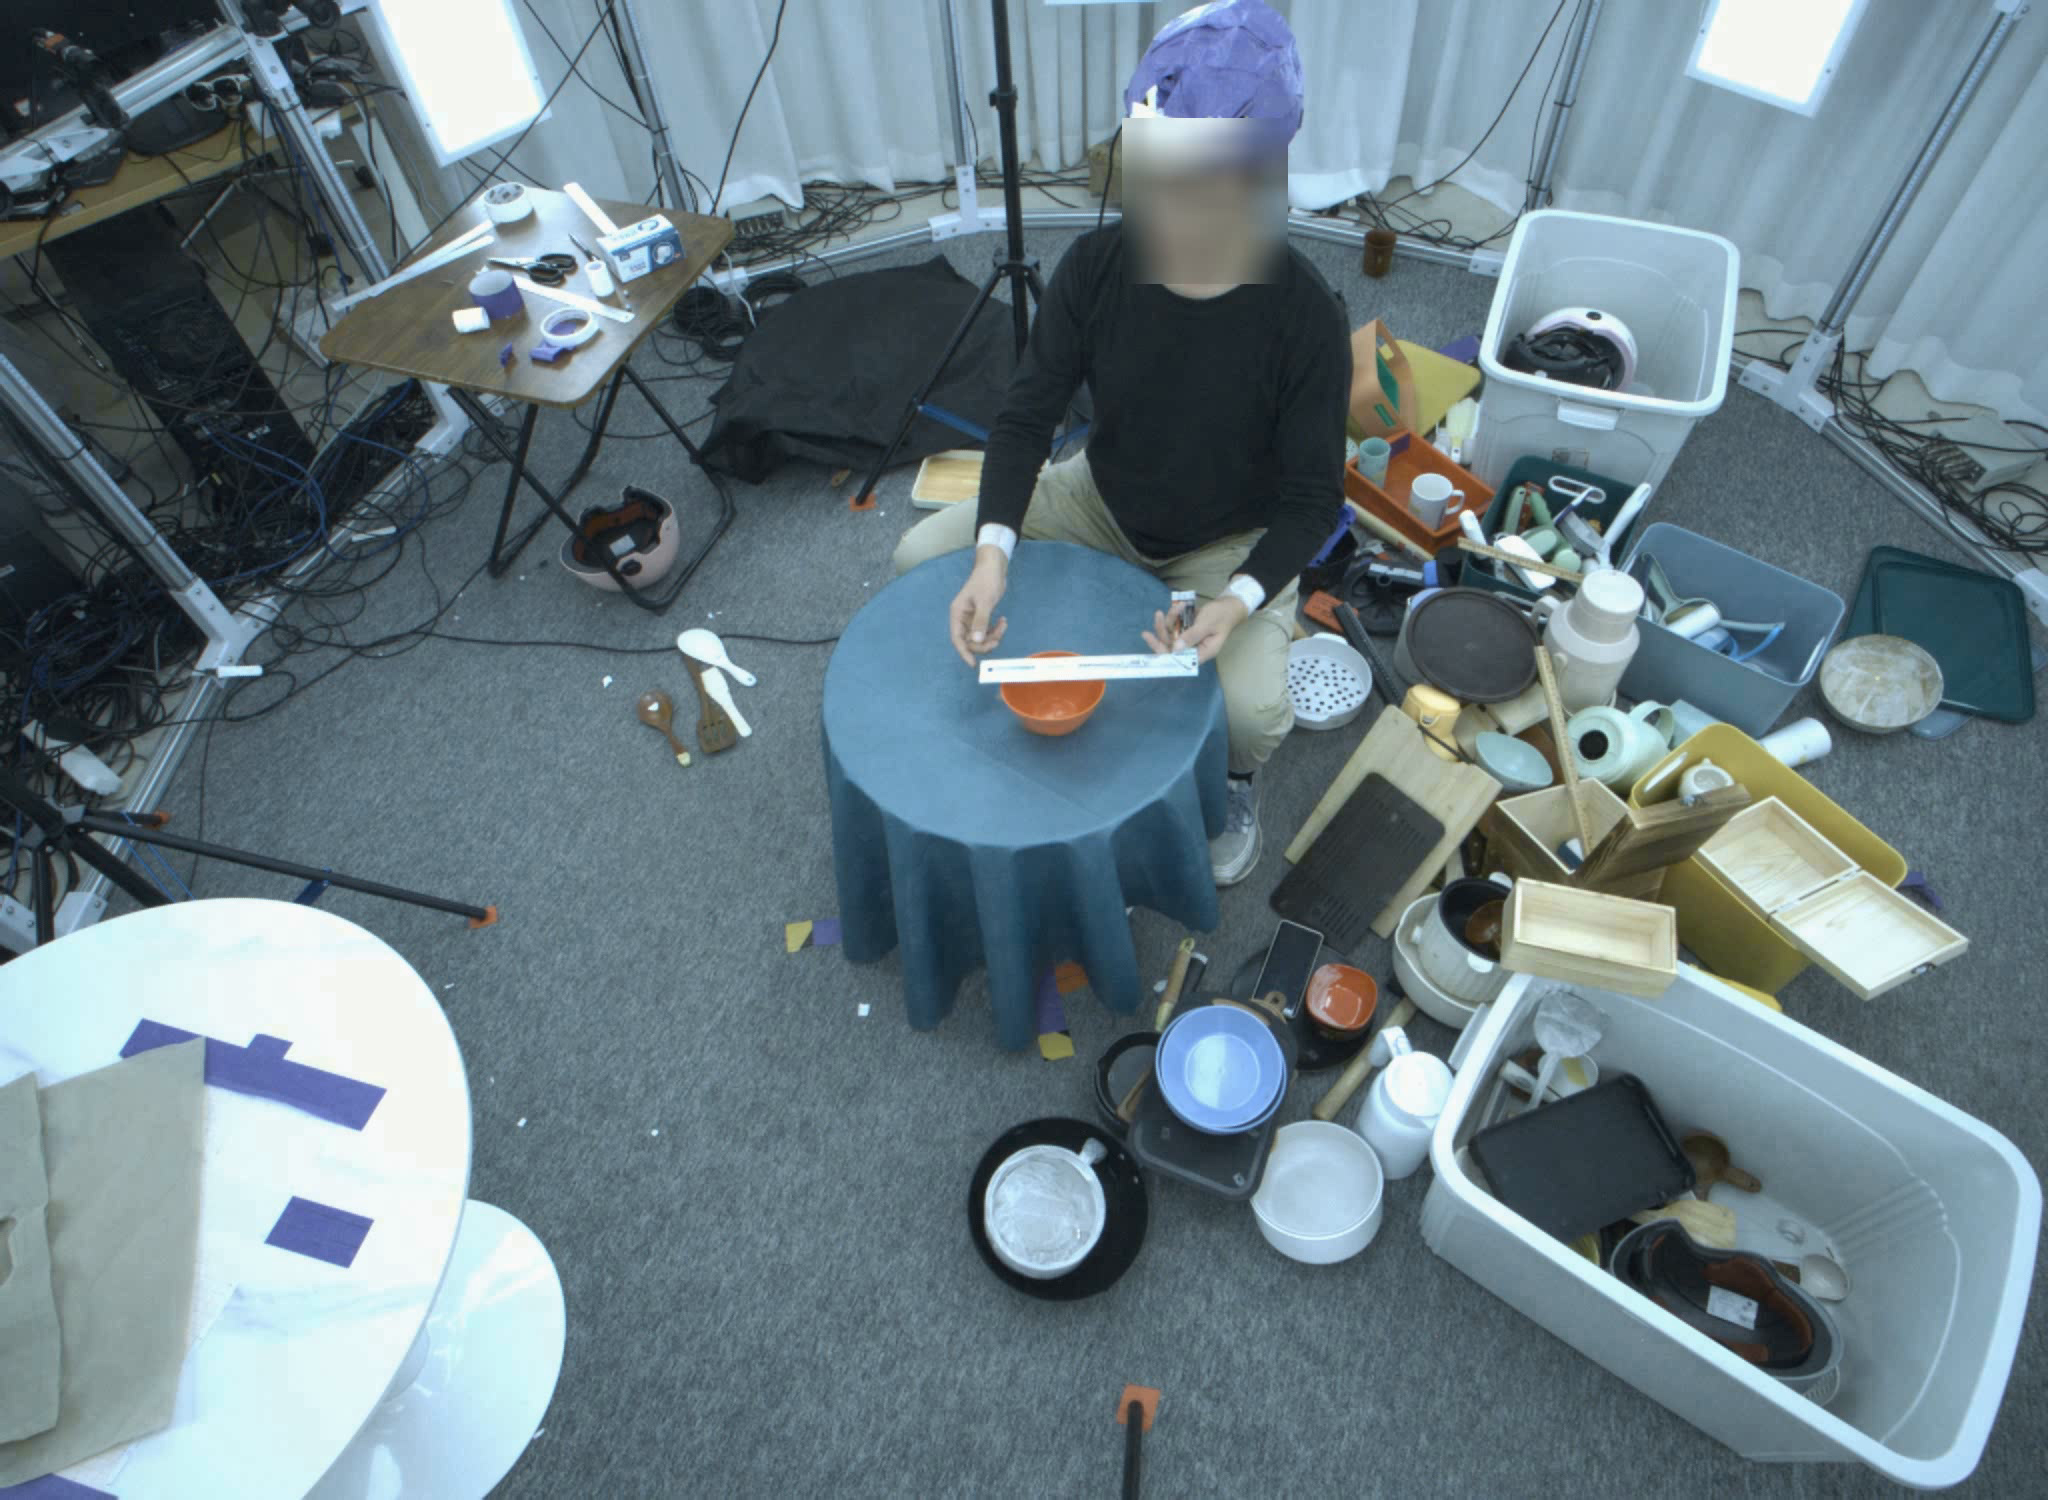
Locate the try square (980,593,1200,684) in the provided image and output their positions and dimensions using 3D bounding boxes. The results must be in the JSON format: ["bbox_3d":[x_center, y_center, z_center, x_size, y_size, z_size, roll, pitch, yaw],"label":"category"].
[{"bbox_3d":[0.096,-0.160,1.776,0.312,0.016,0.151,-2,54,6],"label":"try square"}]

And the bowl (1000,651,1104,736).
[{"bbox_3d":[0.043,-0.067,1.772,0.148,0.106,0.146,-1,54,3],"label":"bowl"}]
